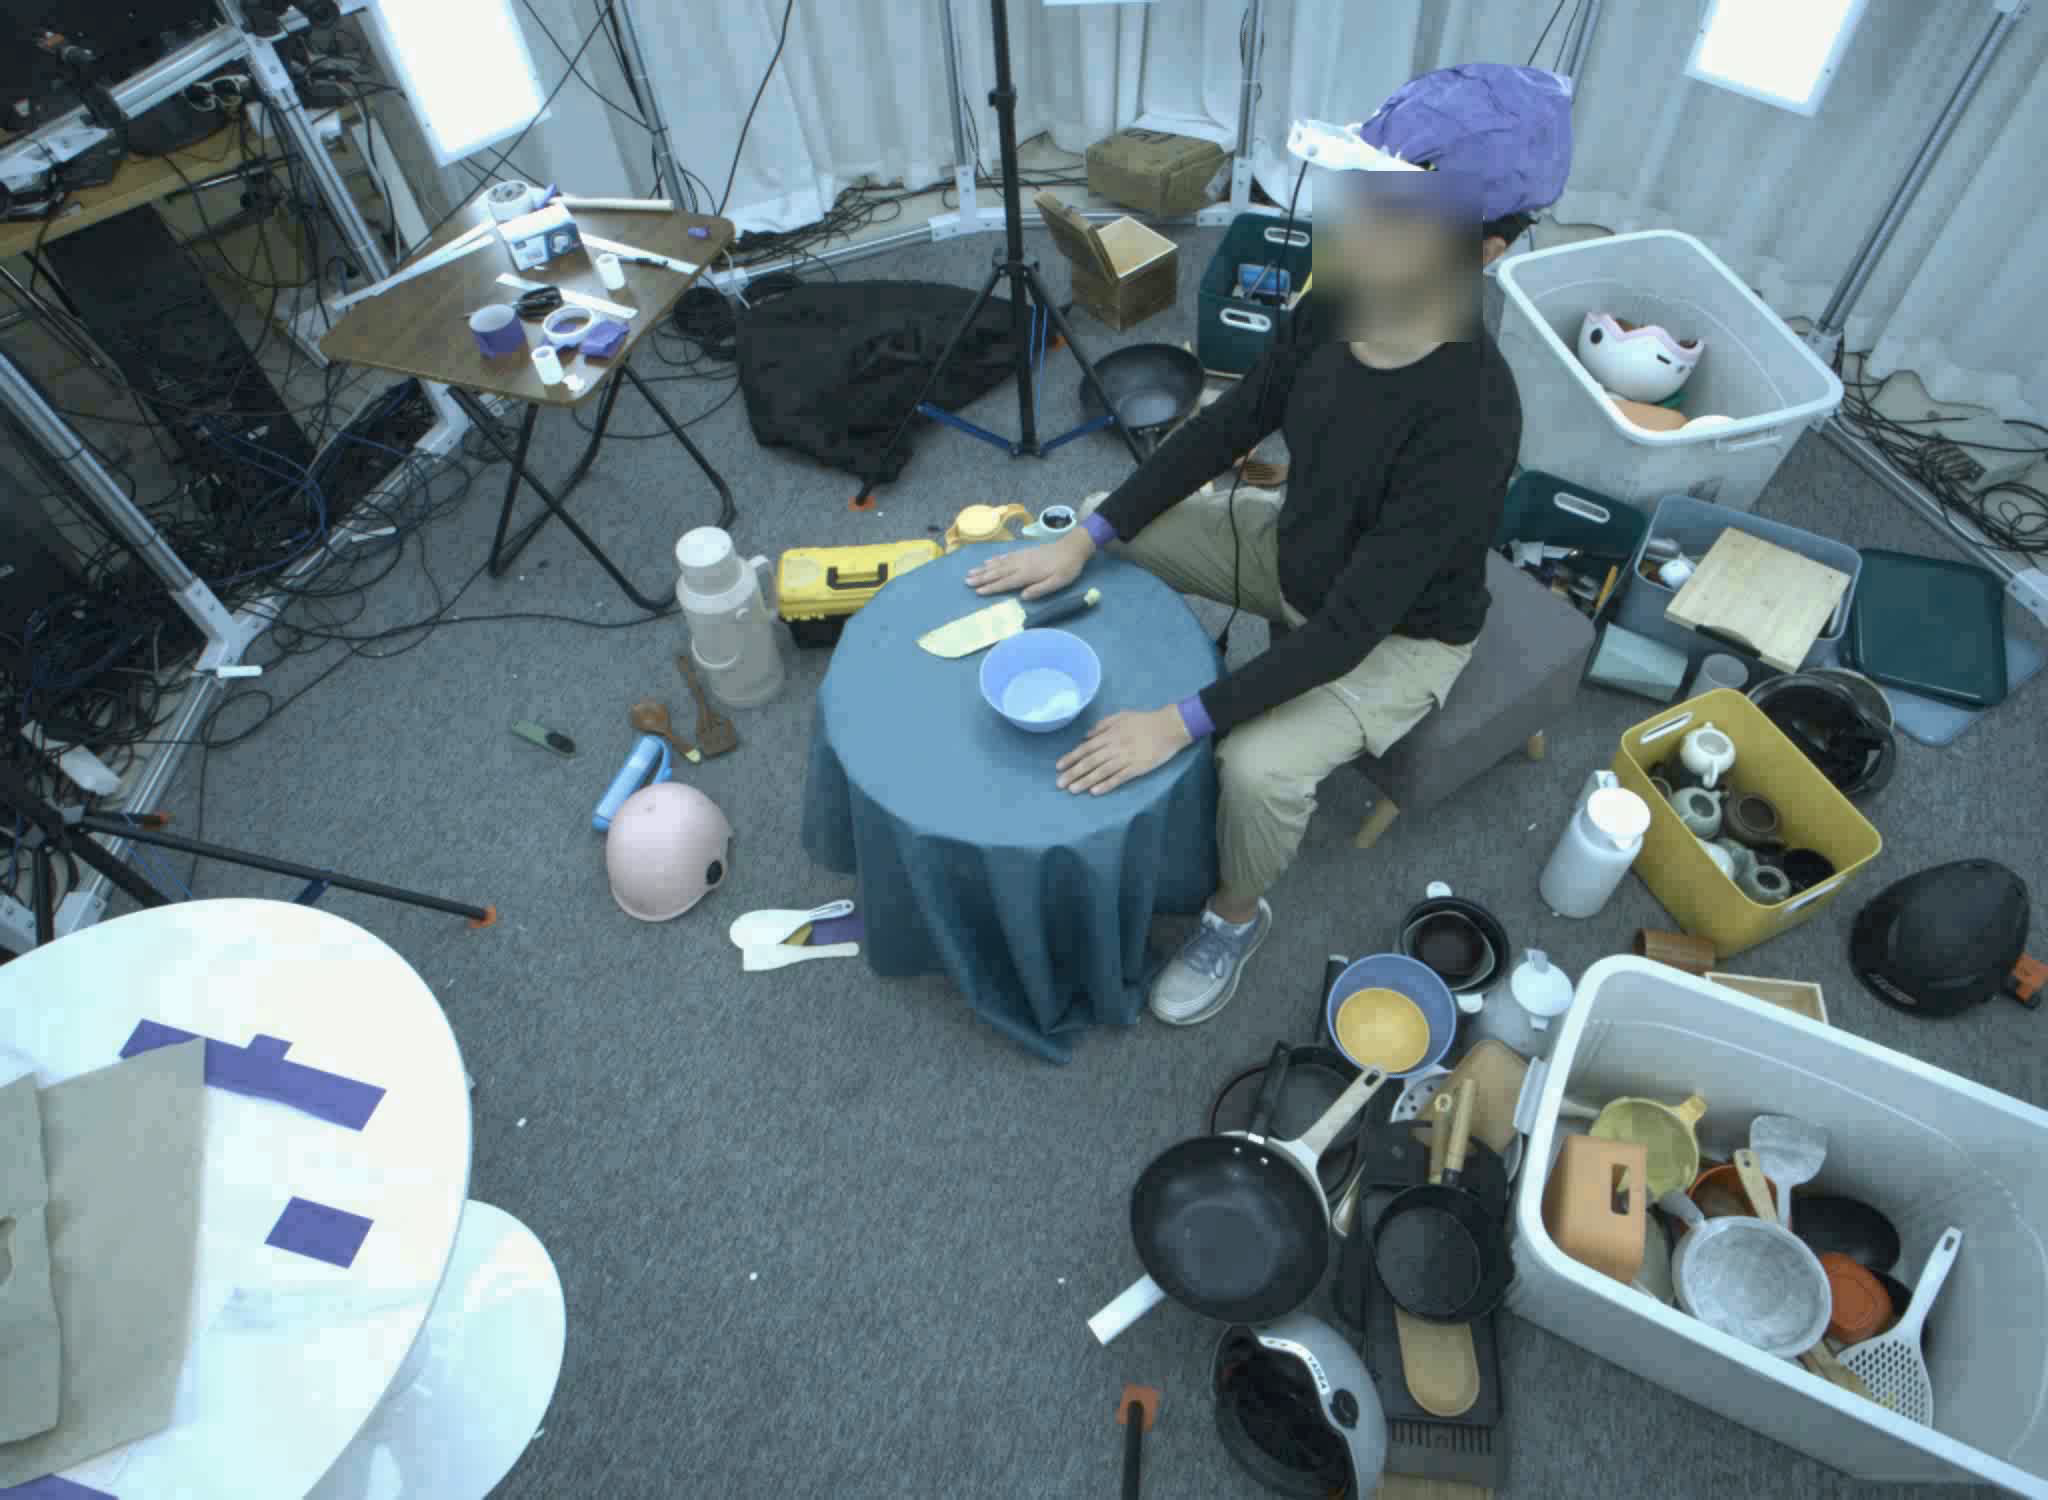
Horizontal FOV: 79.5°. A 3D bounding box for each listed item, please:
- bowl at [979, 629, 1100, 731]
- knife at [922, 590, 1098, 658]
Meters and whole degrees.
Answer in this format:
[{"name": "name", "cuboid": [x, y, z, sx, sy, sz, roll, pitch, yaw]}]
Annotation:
[{"name": "bowl", "cuboid": [0.024, -0.092, 1.806, 0.176, 0.071, 0.174, -1, 54, 2]}, {"name": "knife", "cuboid": [-0.023, -0.204, 1.922, 0.291, 0.027, 0.079, -19, 57, -10]}]
